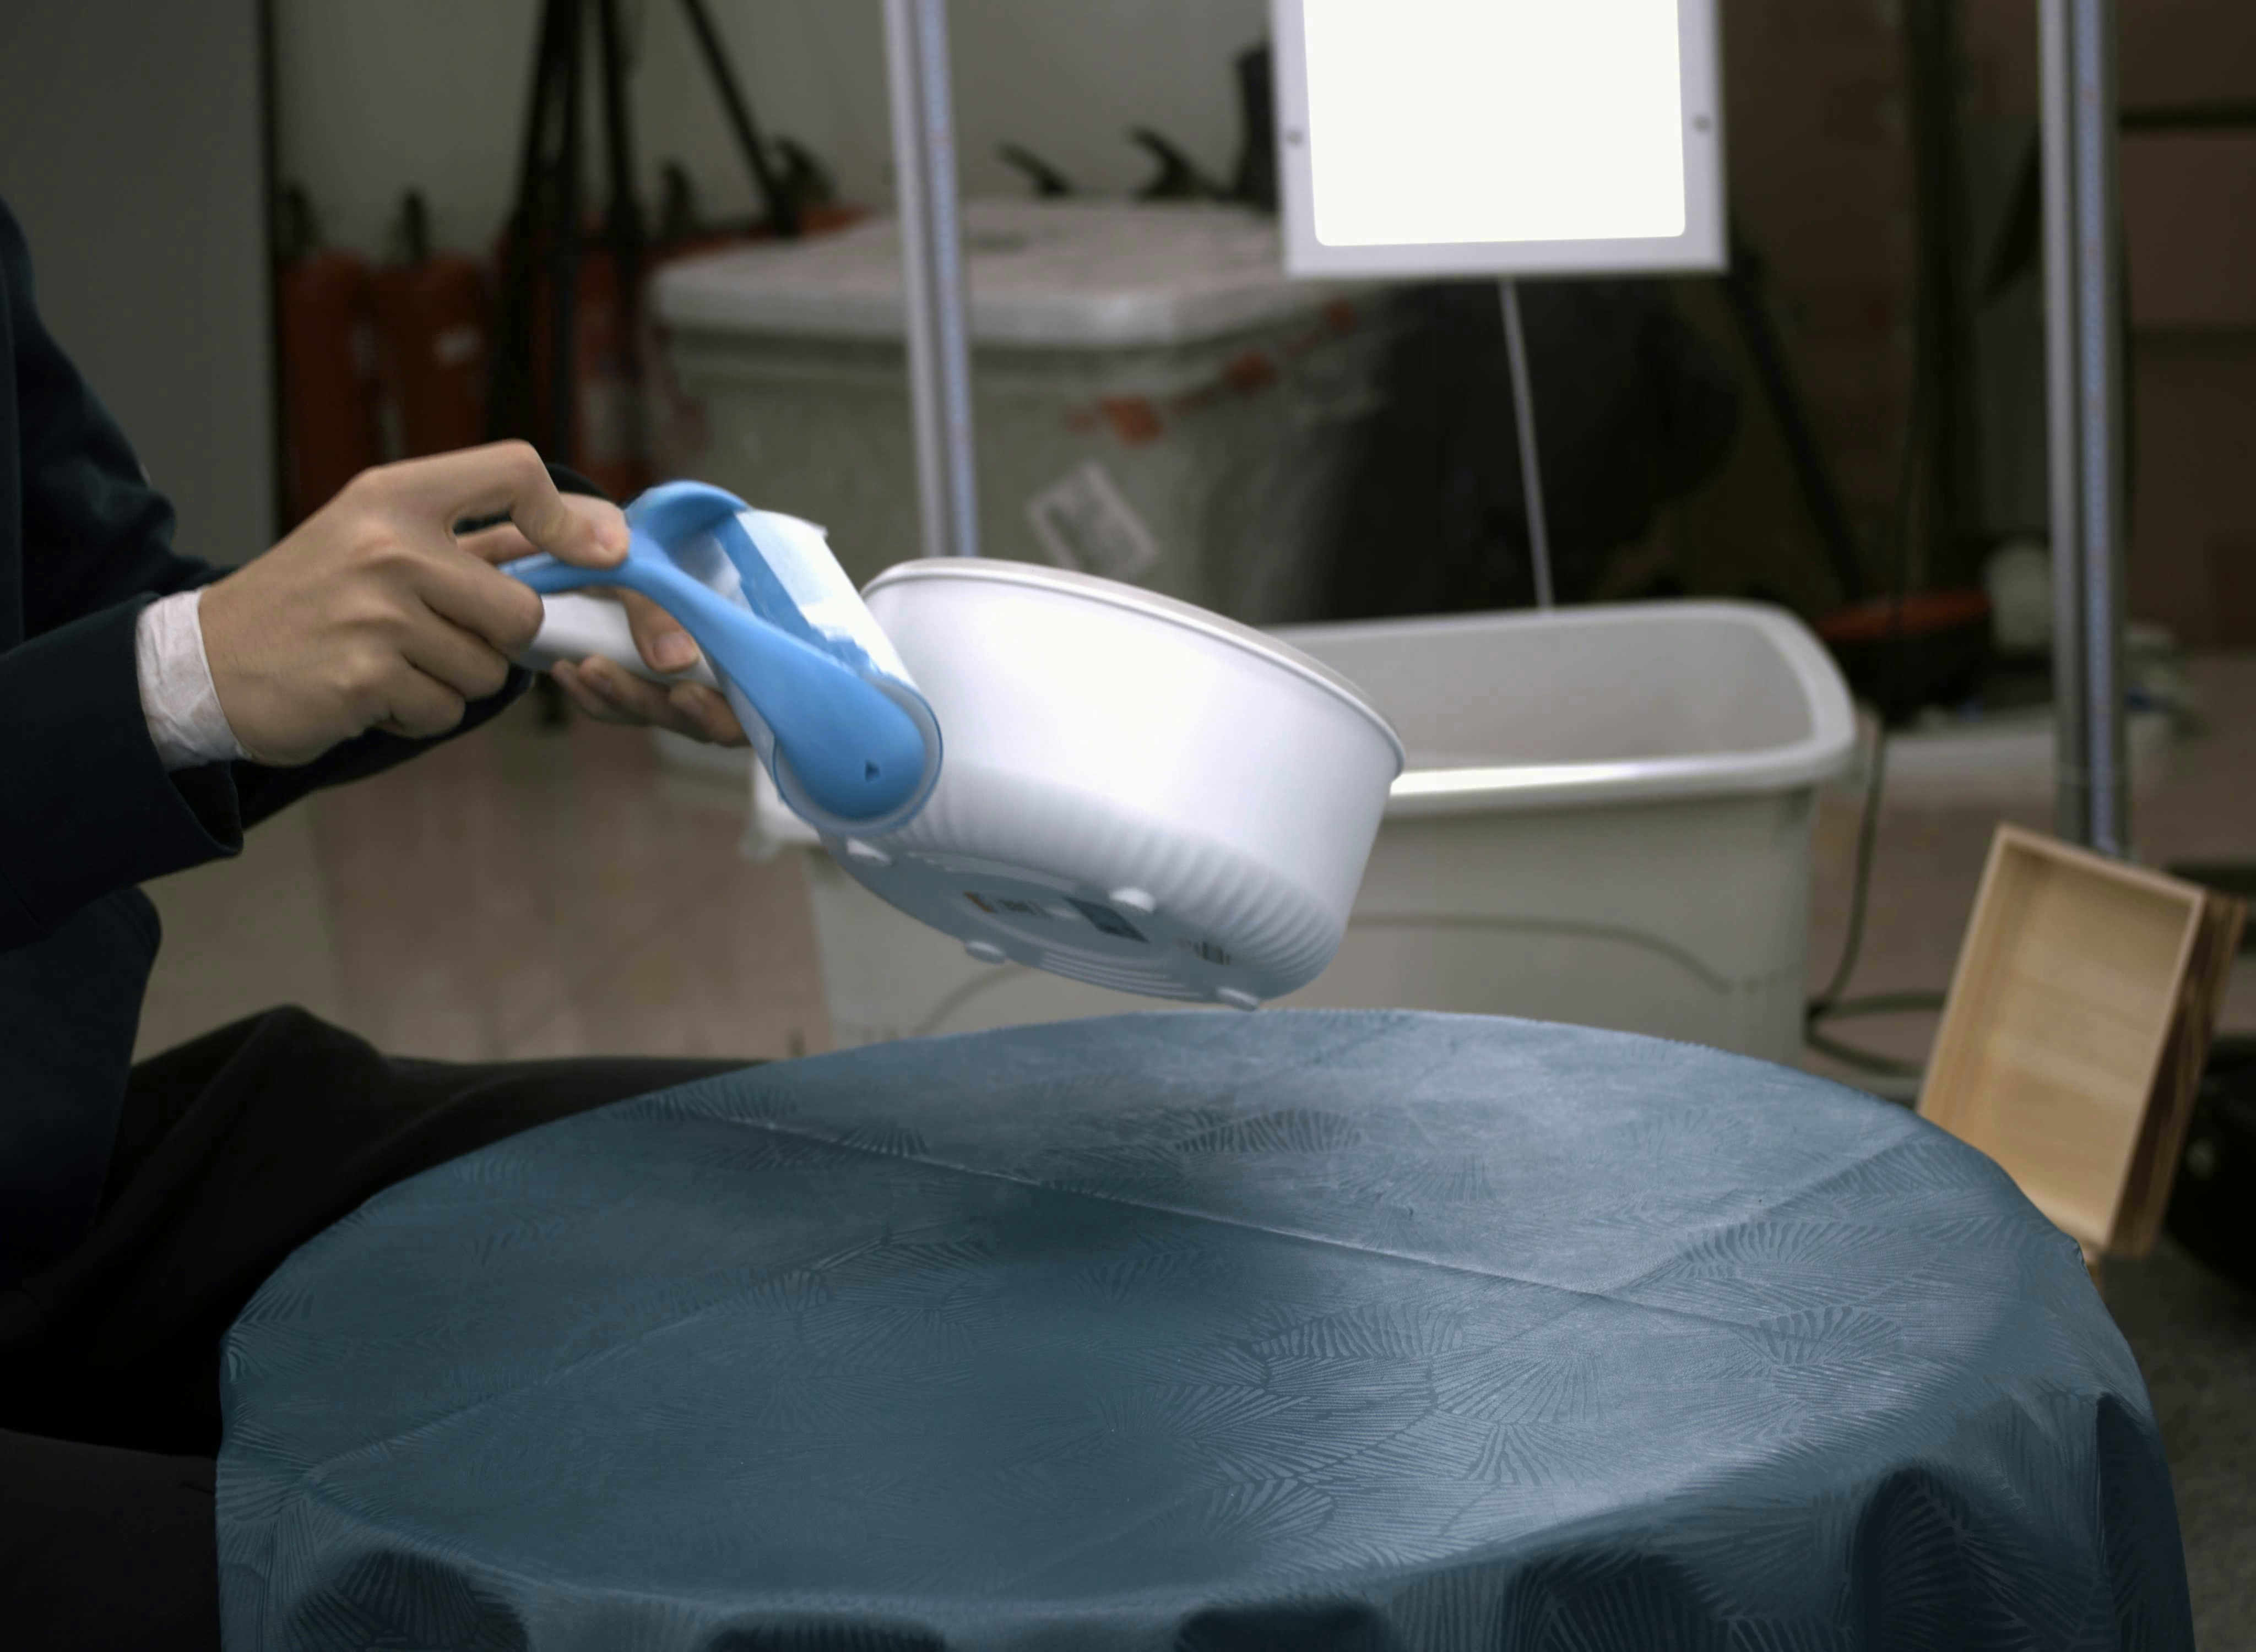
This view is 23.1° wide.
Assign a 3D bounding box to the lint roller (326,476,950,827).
[{"bbox_3d":[-0.159,-0.060,1.735,0.177,0.068,0.231,4,18,-17],"label":"lint roller"}]

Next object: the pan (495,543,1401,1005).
[{"bbox_3d":[-0.080,-0.022,1.960,0.361,0.102,0.198,9,-18,29],"label":"pan"}]
